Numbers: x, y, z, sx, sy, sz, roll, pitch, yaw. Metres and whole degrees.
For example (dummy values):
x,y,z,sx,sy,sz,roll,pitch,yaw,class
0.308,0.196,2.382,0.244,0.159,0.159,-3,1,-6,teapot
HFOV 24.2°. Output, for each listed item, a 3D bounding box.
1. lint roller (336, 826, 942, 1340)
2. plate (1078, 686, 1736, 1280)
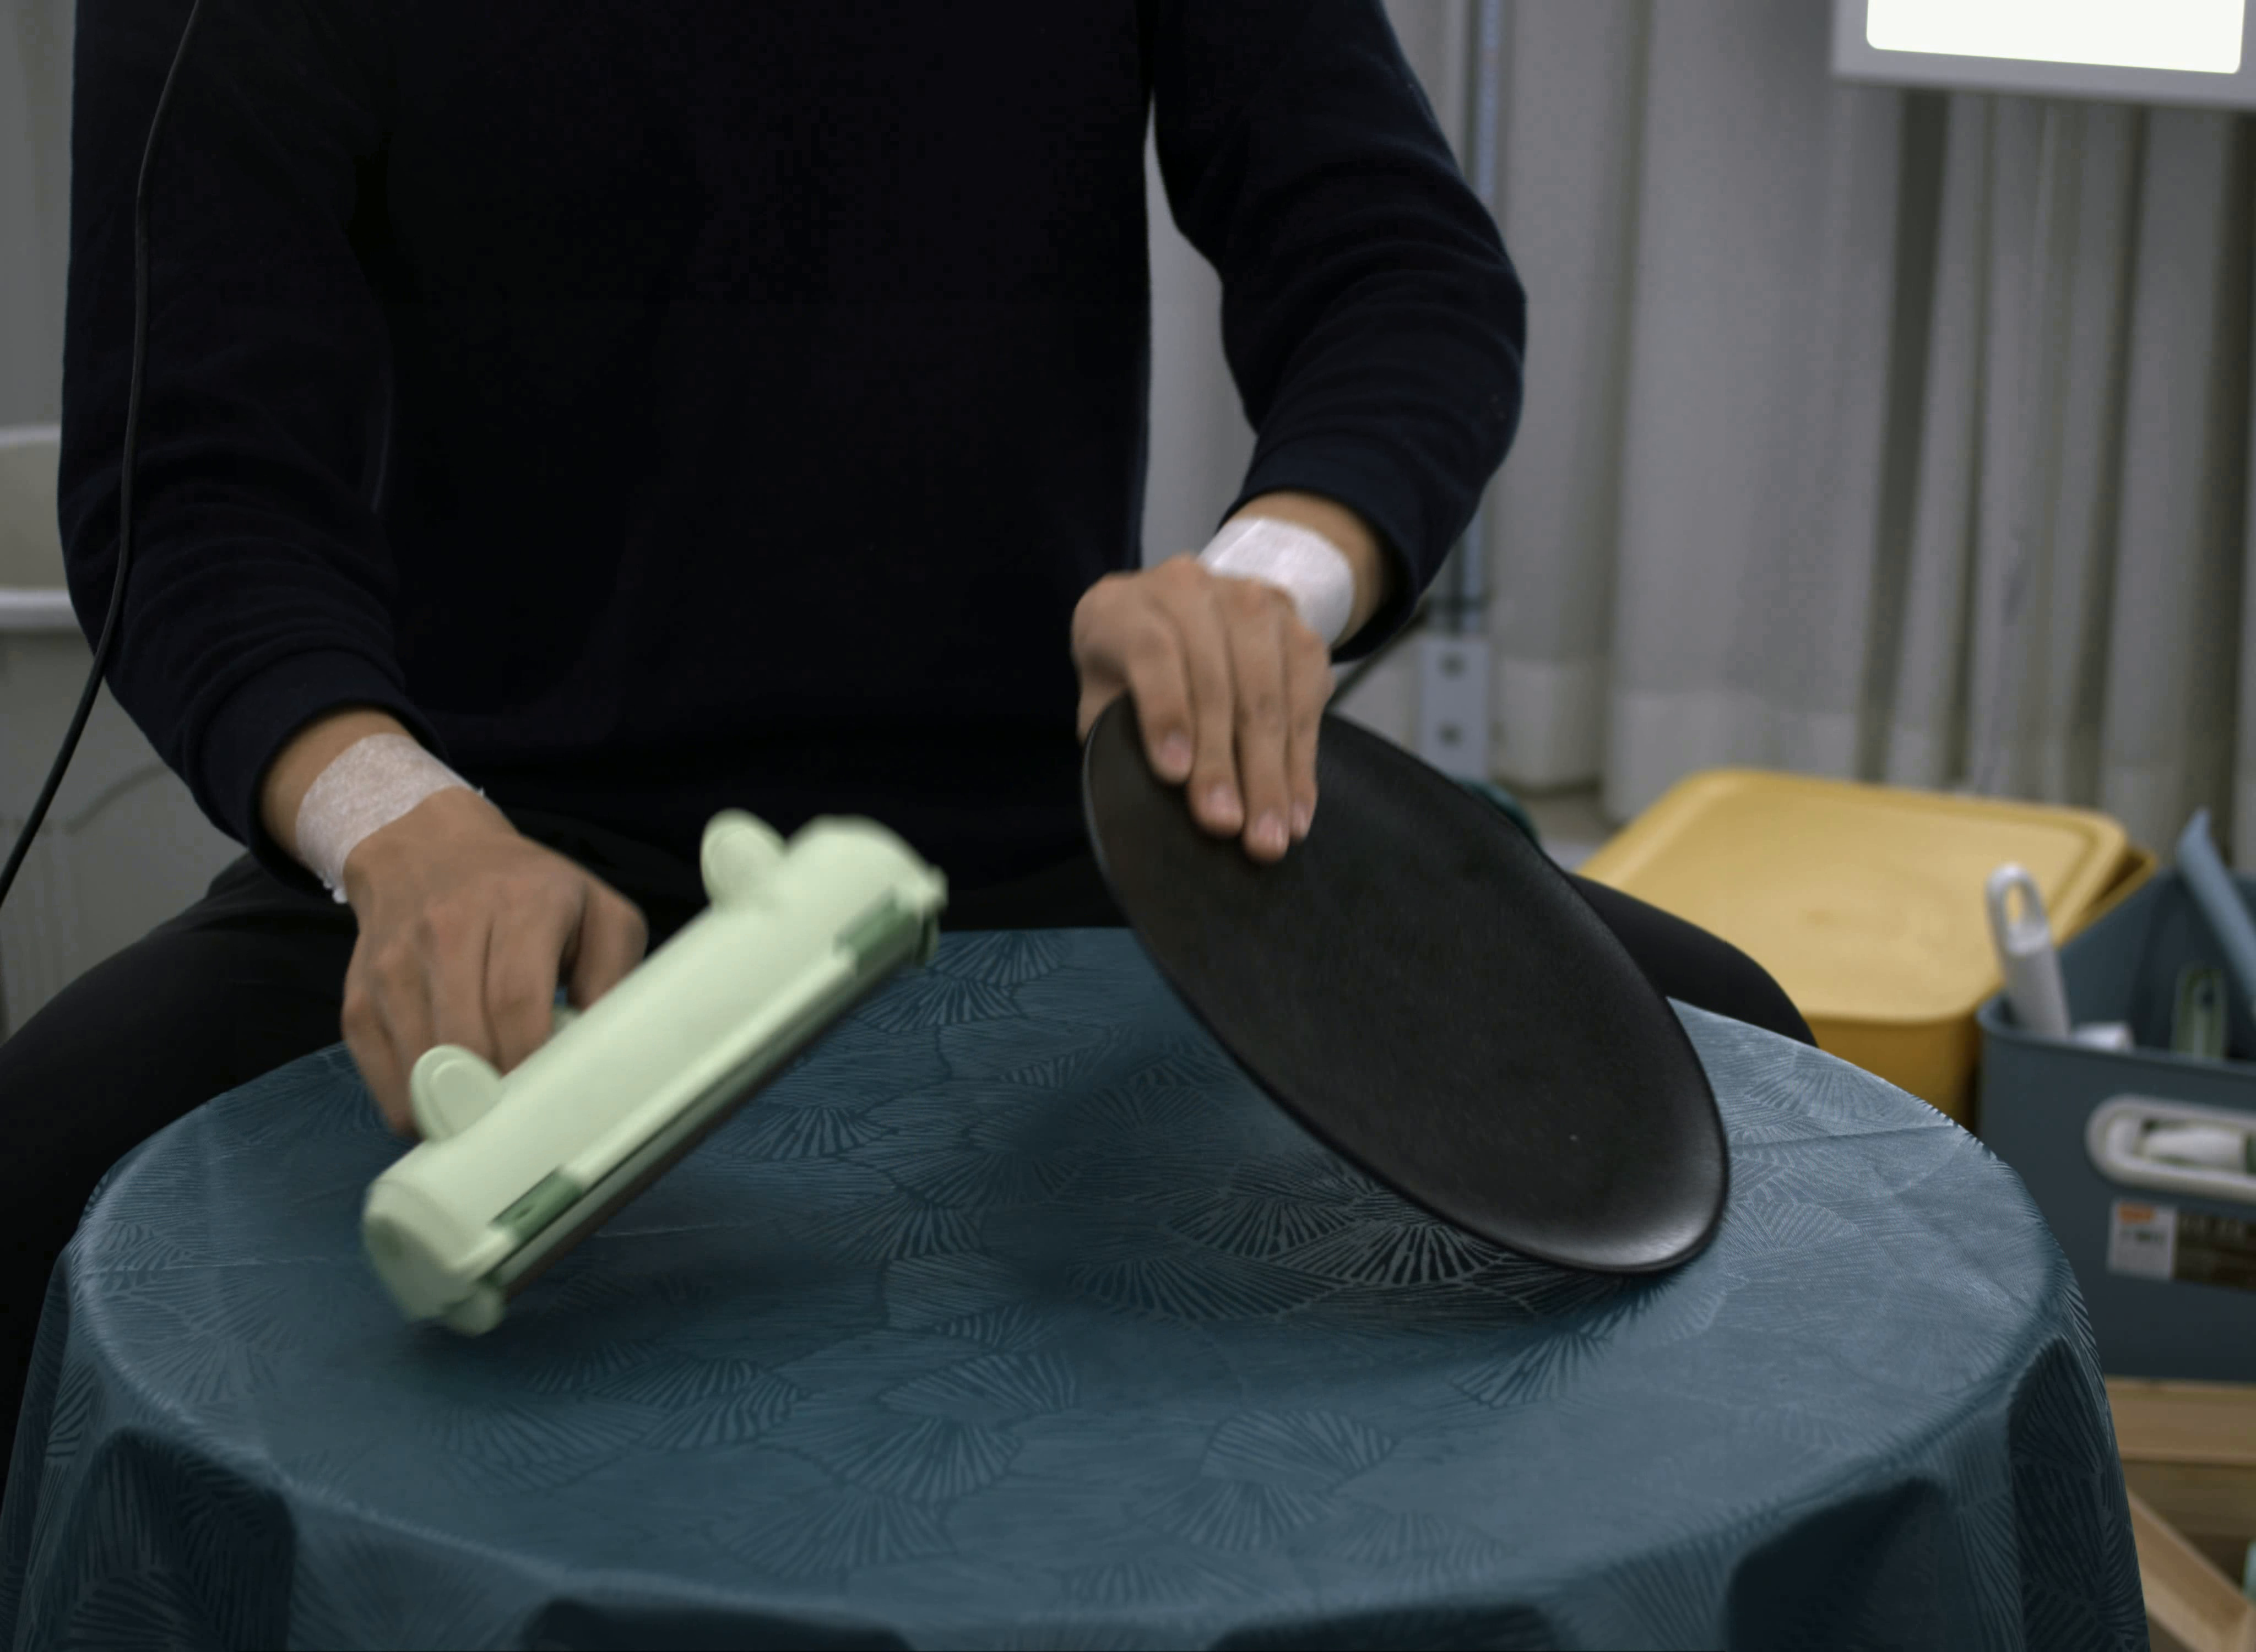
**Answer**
x,y,z,sx,sy,sz,roll,pitch,yaw,class
-0.179,0.055,1.551,0.181,0.083,0.198,19,46,43,lint roller
0.081,0.051,1.591,0.246,0.023,0.242,31,28,-18,plate
